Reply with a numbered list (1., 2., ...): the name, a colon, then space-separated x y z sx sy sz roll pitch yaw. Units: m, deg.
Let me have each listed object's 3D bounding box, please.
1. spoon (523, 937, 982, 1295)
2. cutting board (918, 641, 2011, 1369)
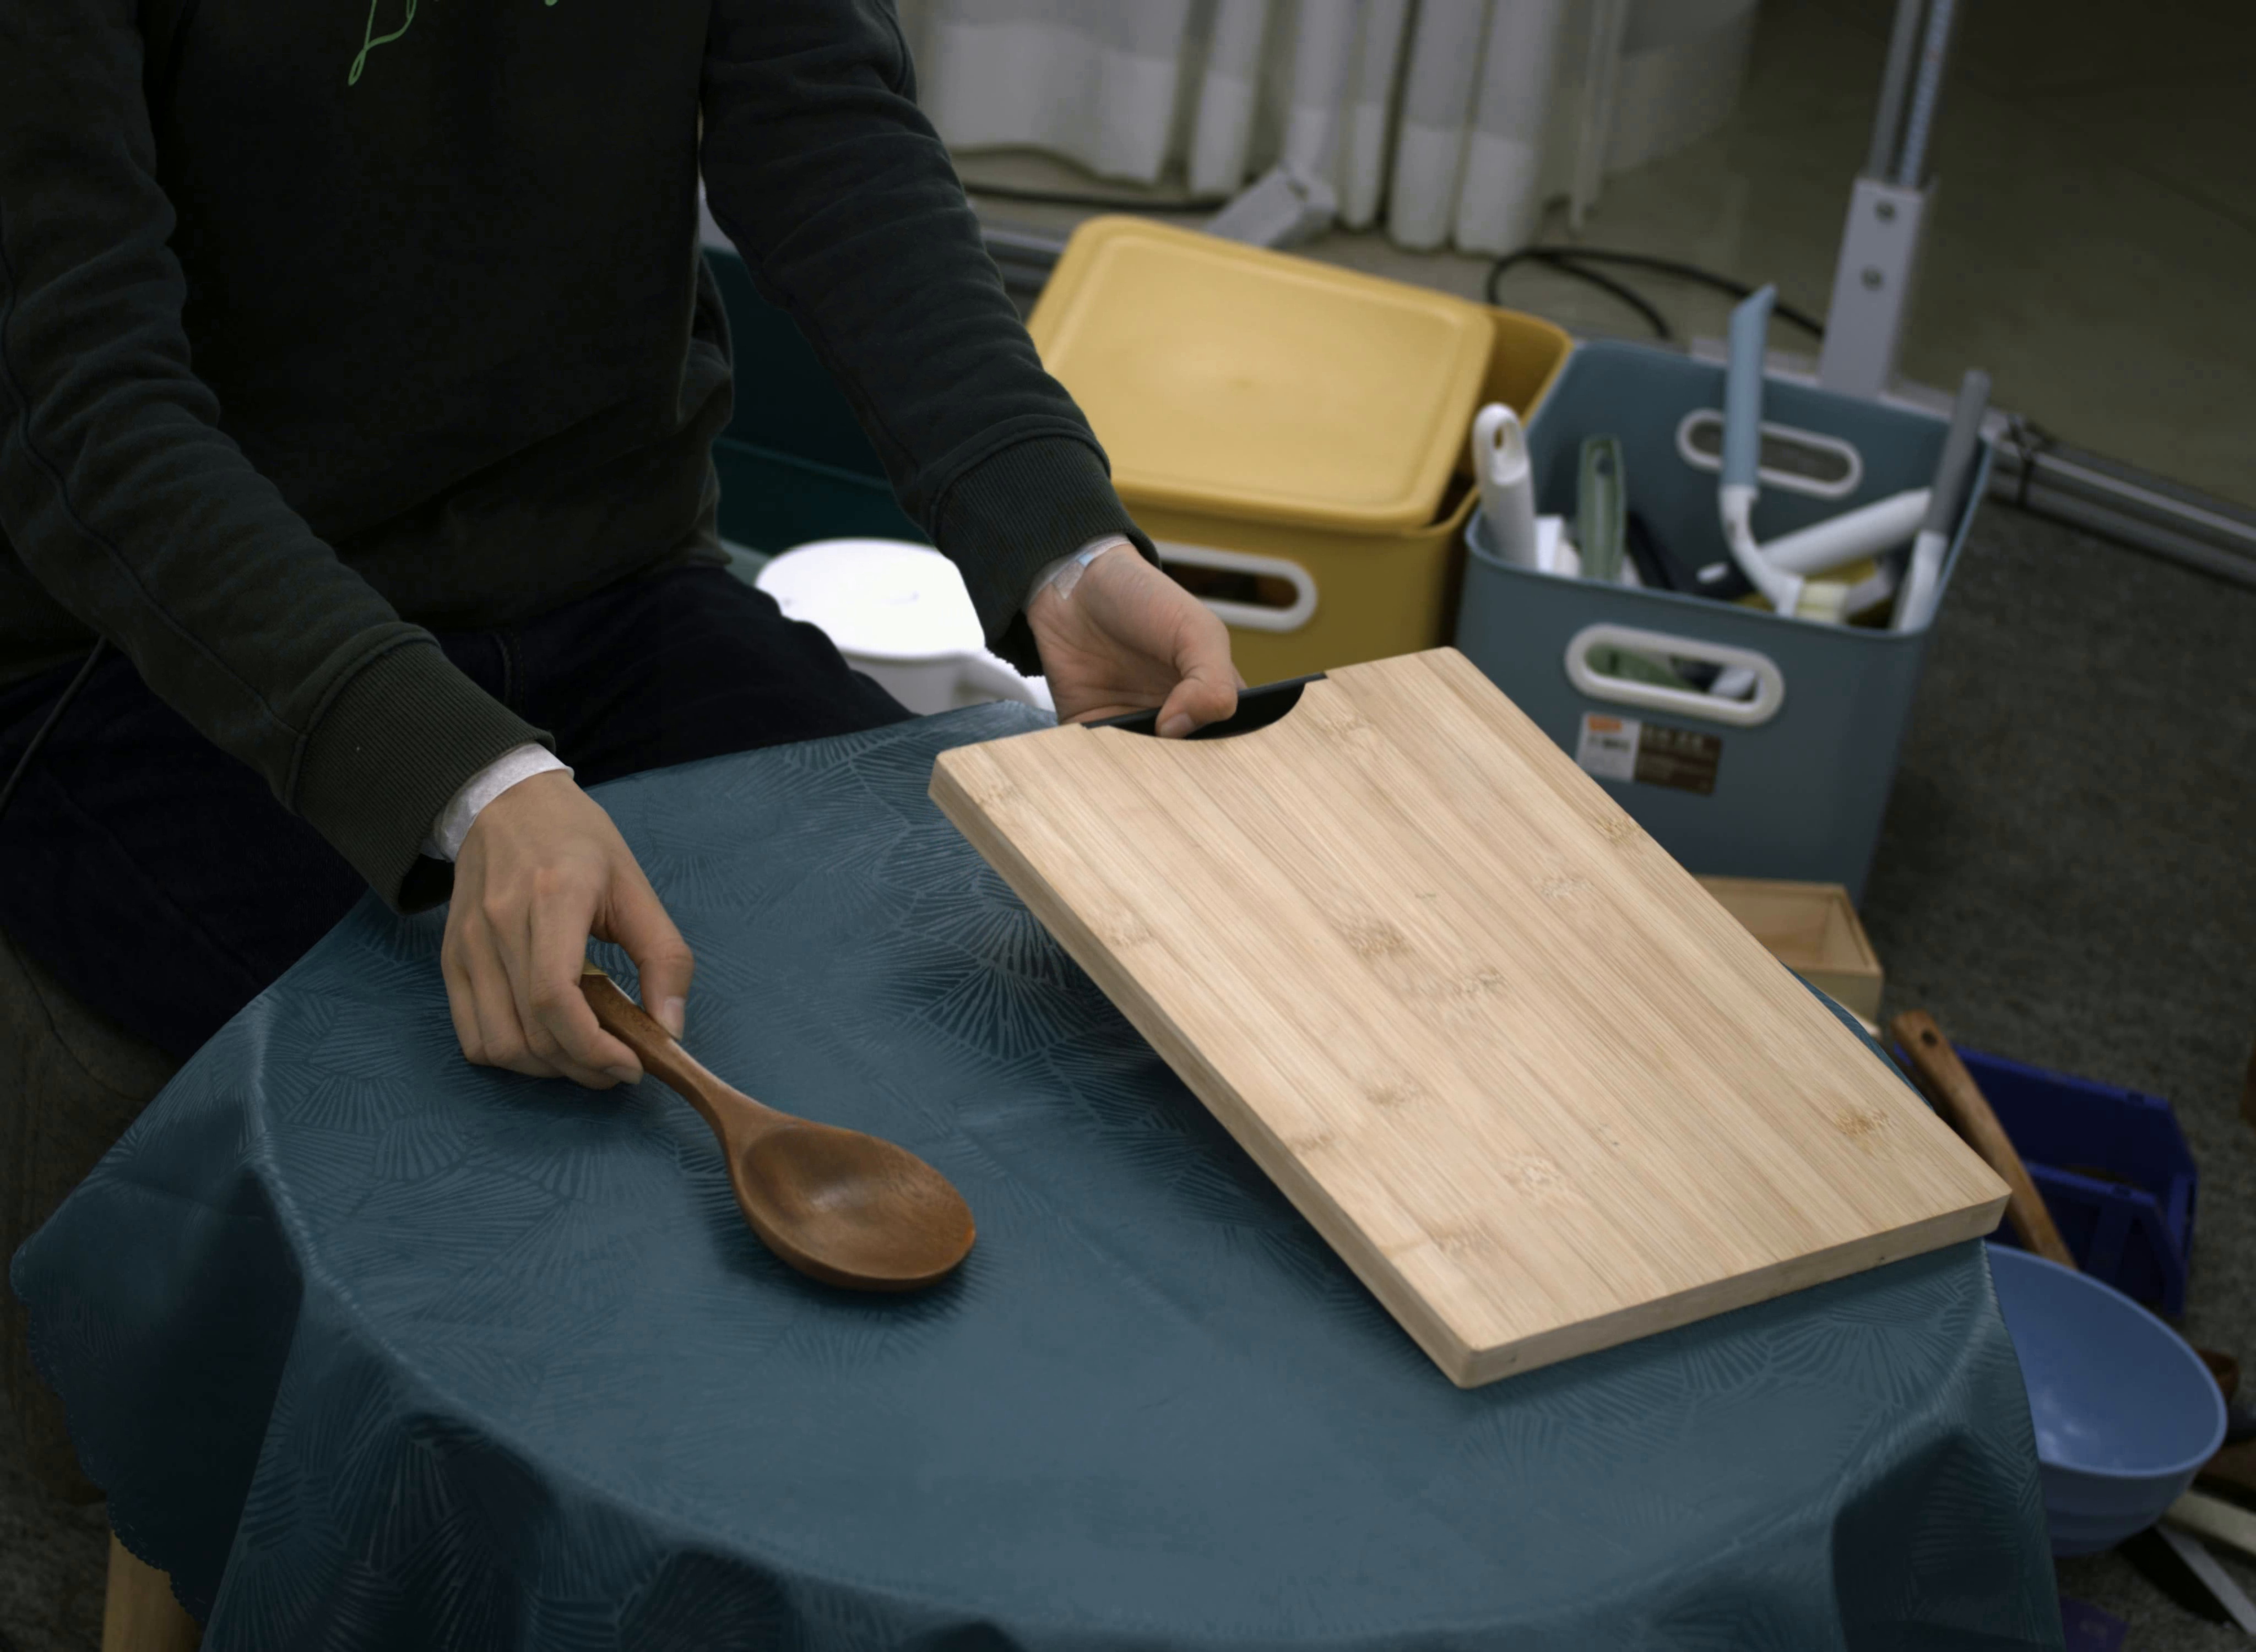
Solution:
1. spoon: -0.132 0.097 1.785 0.075 0.017 0.217 -20 44 -39
2. cutting board: 0.113 0.055 1.880 0.249 0.023 0.352 -12 42 -34
